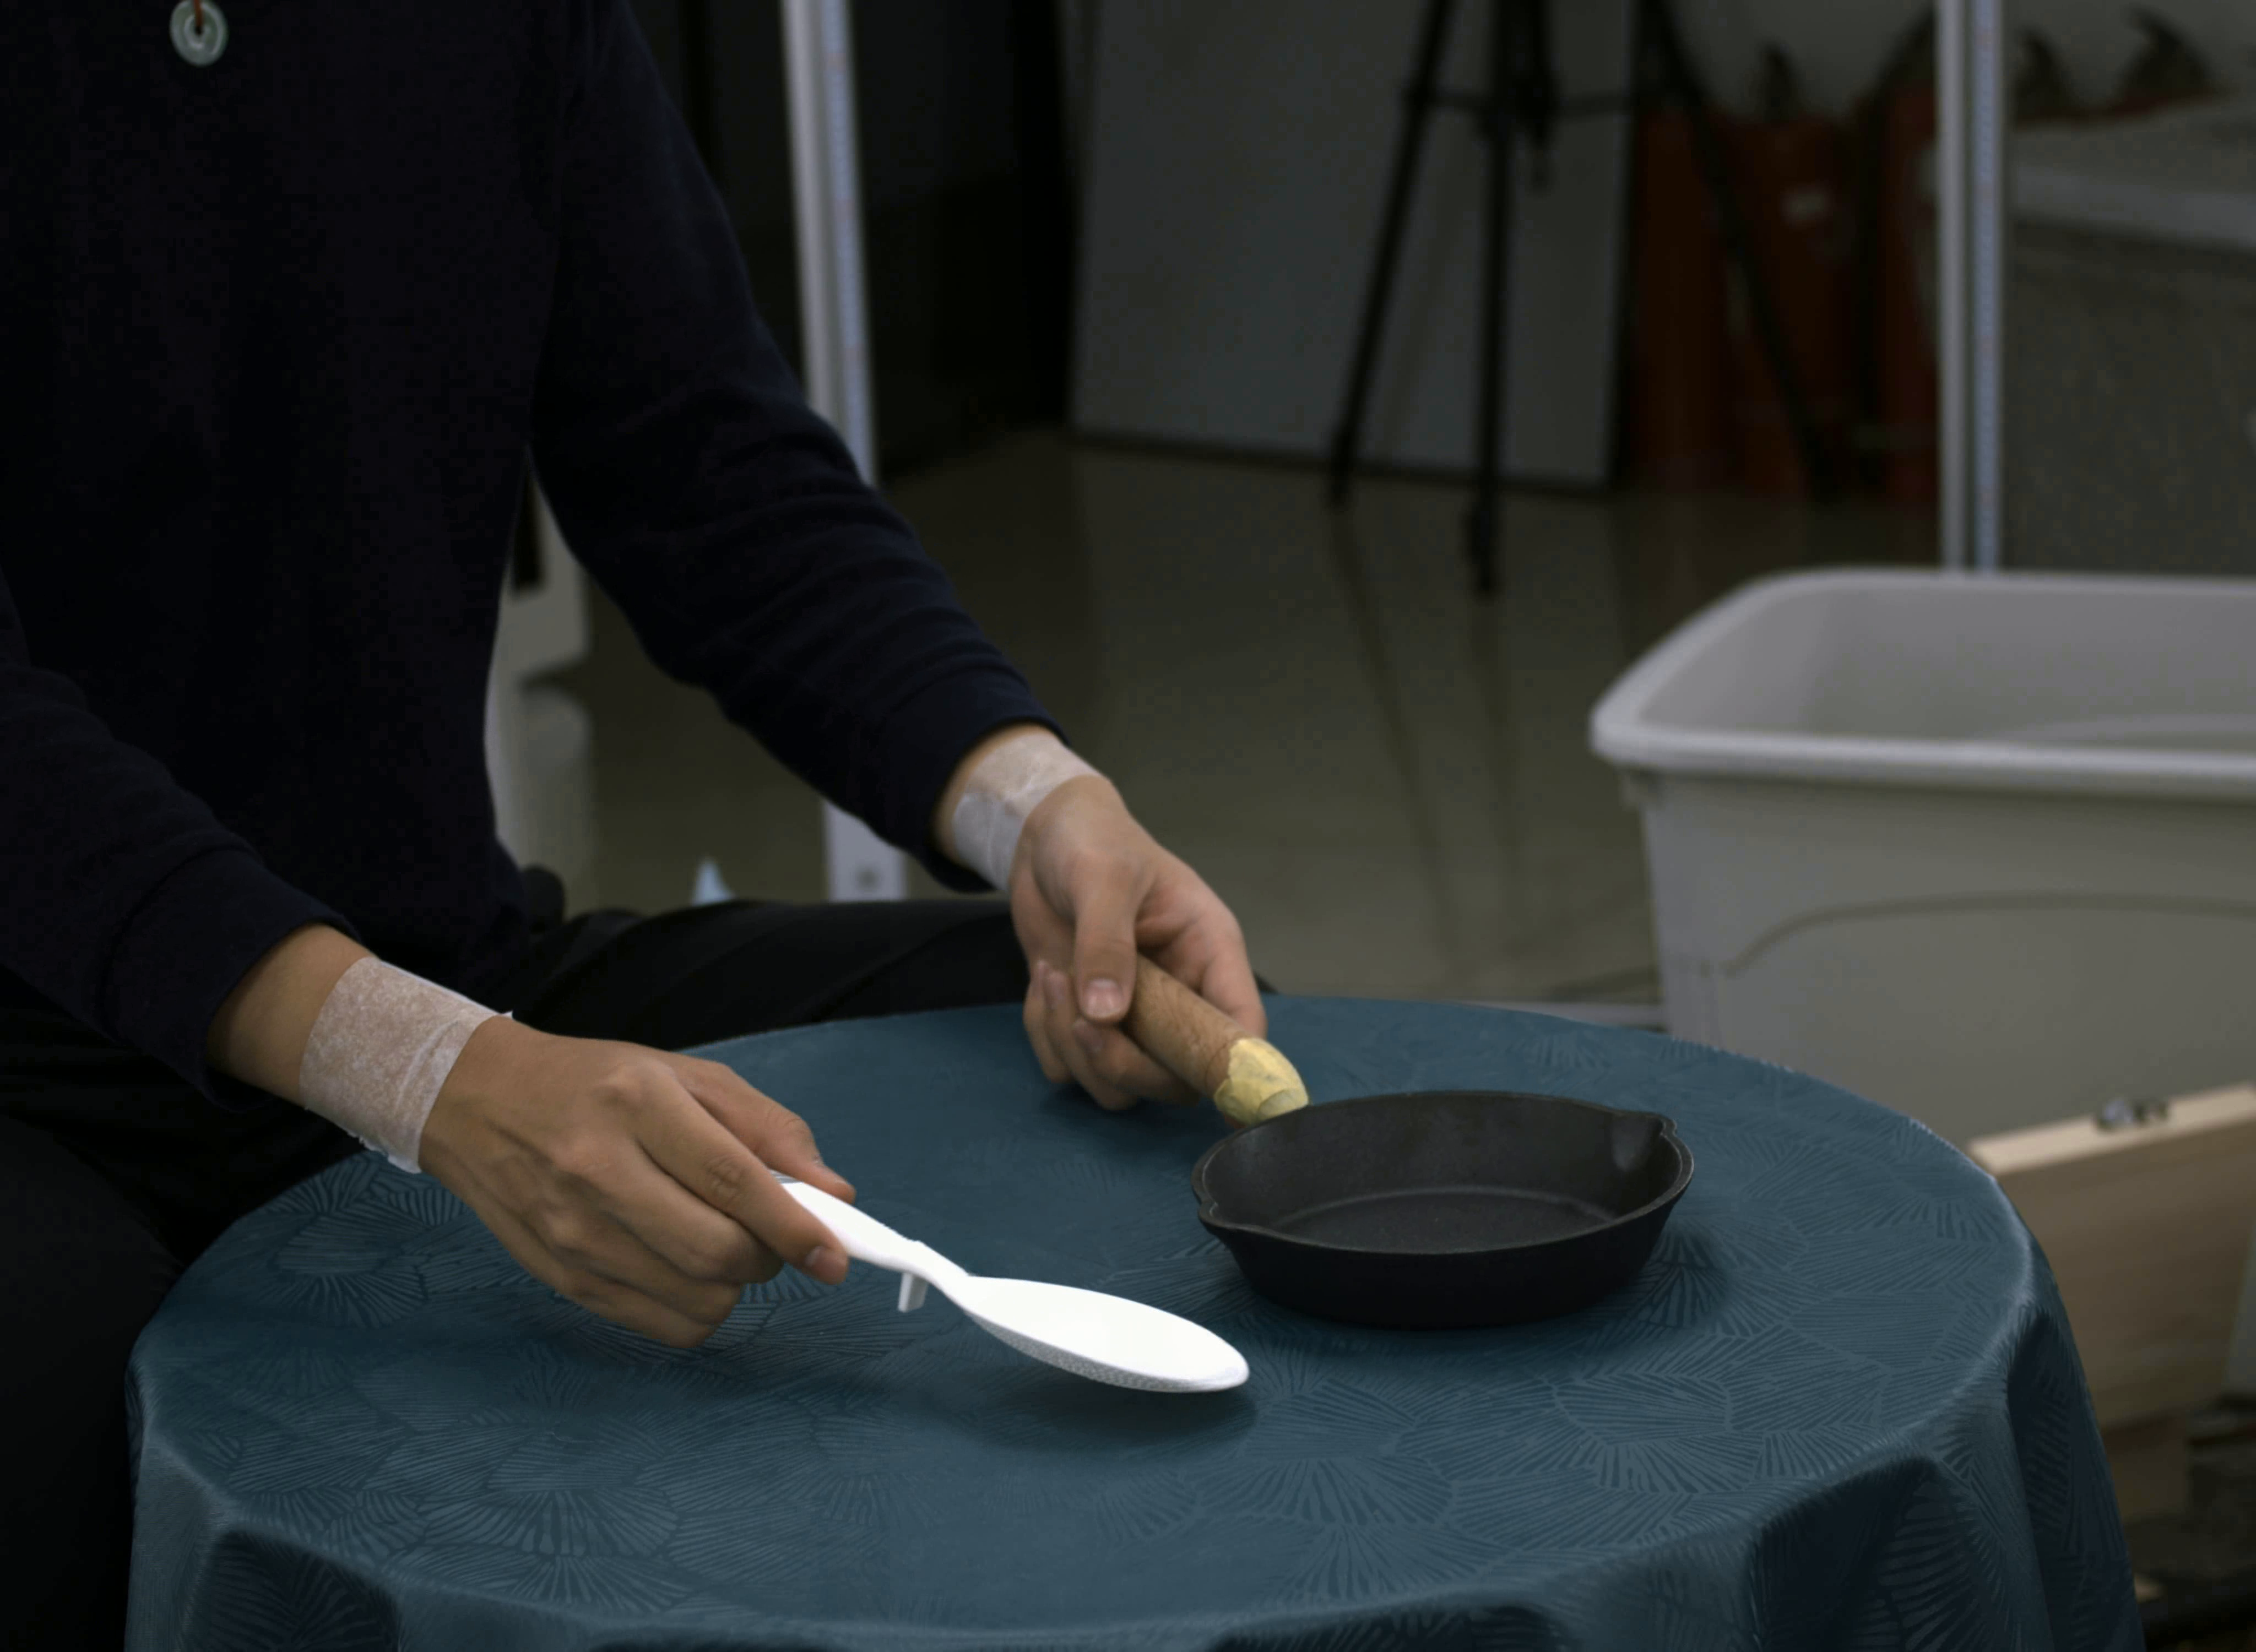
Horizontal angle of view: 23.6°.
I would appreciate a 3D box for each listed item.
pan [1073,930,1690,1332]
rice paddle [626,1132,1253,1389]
[{"bbox_3d":[0.061,0.095,1.747,0.165,0.050,0.327,-10,17,-23],"label":"pan"},{"bbox_3d":[-0.055,0.132,1.601,0.206,0.030,0.068,16,12,24],"label":"rice paddle"}]
